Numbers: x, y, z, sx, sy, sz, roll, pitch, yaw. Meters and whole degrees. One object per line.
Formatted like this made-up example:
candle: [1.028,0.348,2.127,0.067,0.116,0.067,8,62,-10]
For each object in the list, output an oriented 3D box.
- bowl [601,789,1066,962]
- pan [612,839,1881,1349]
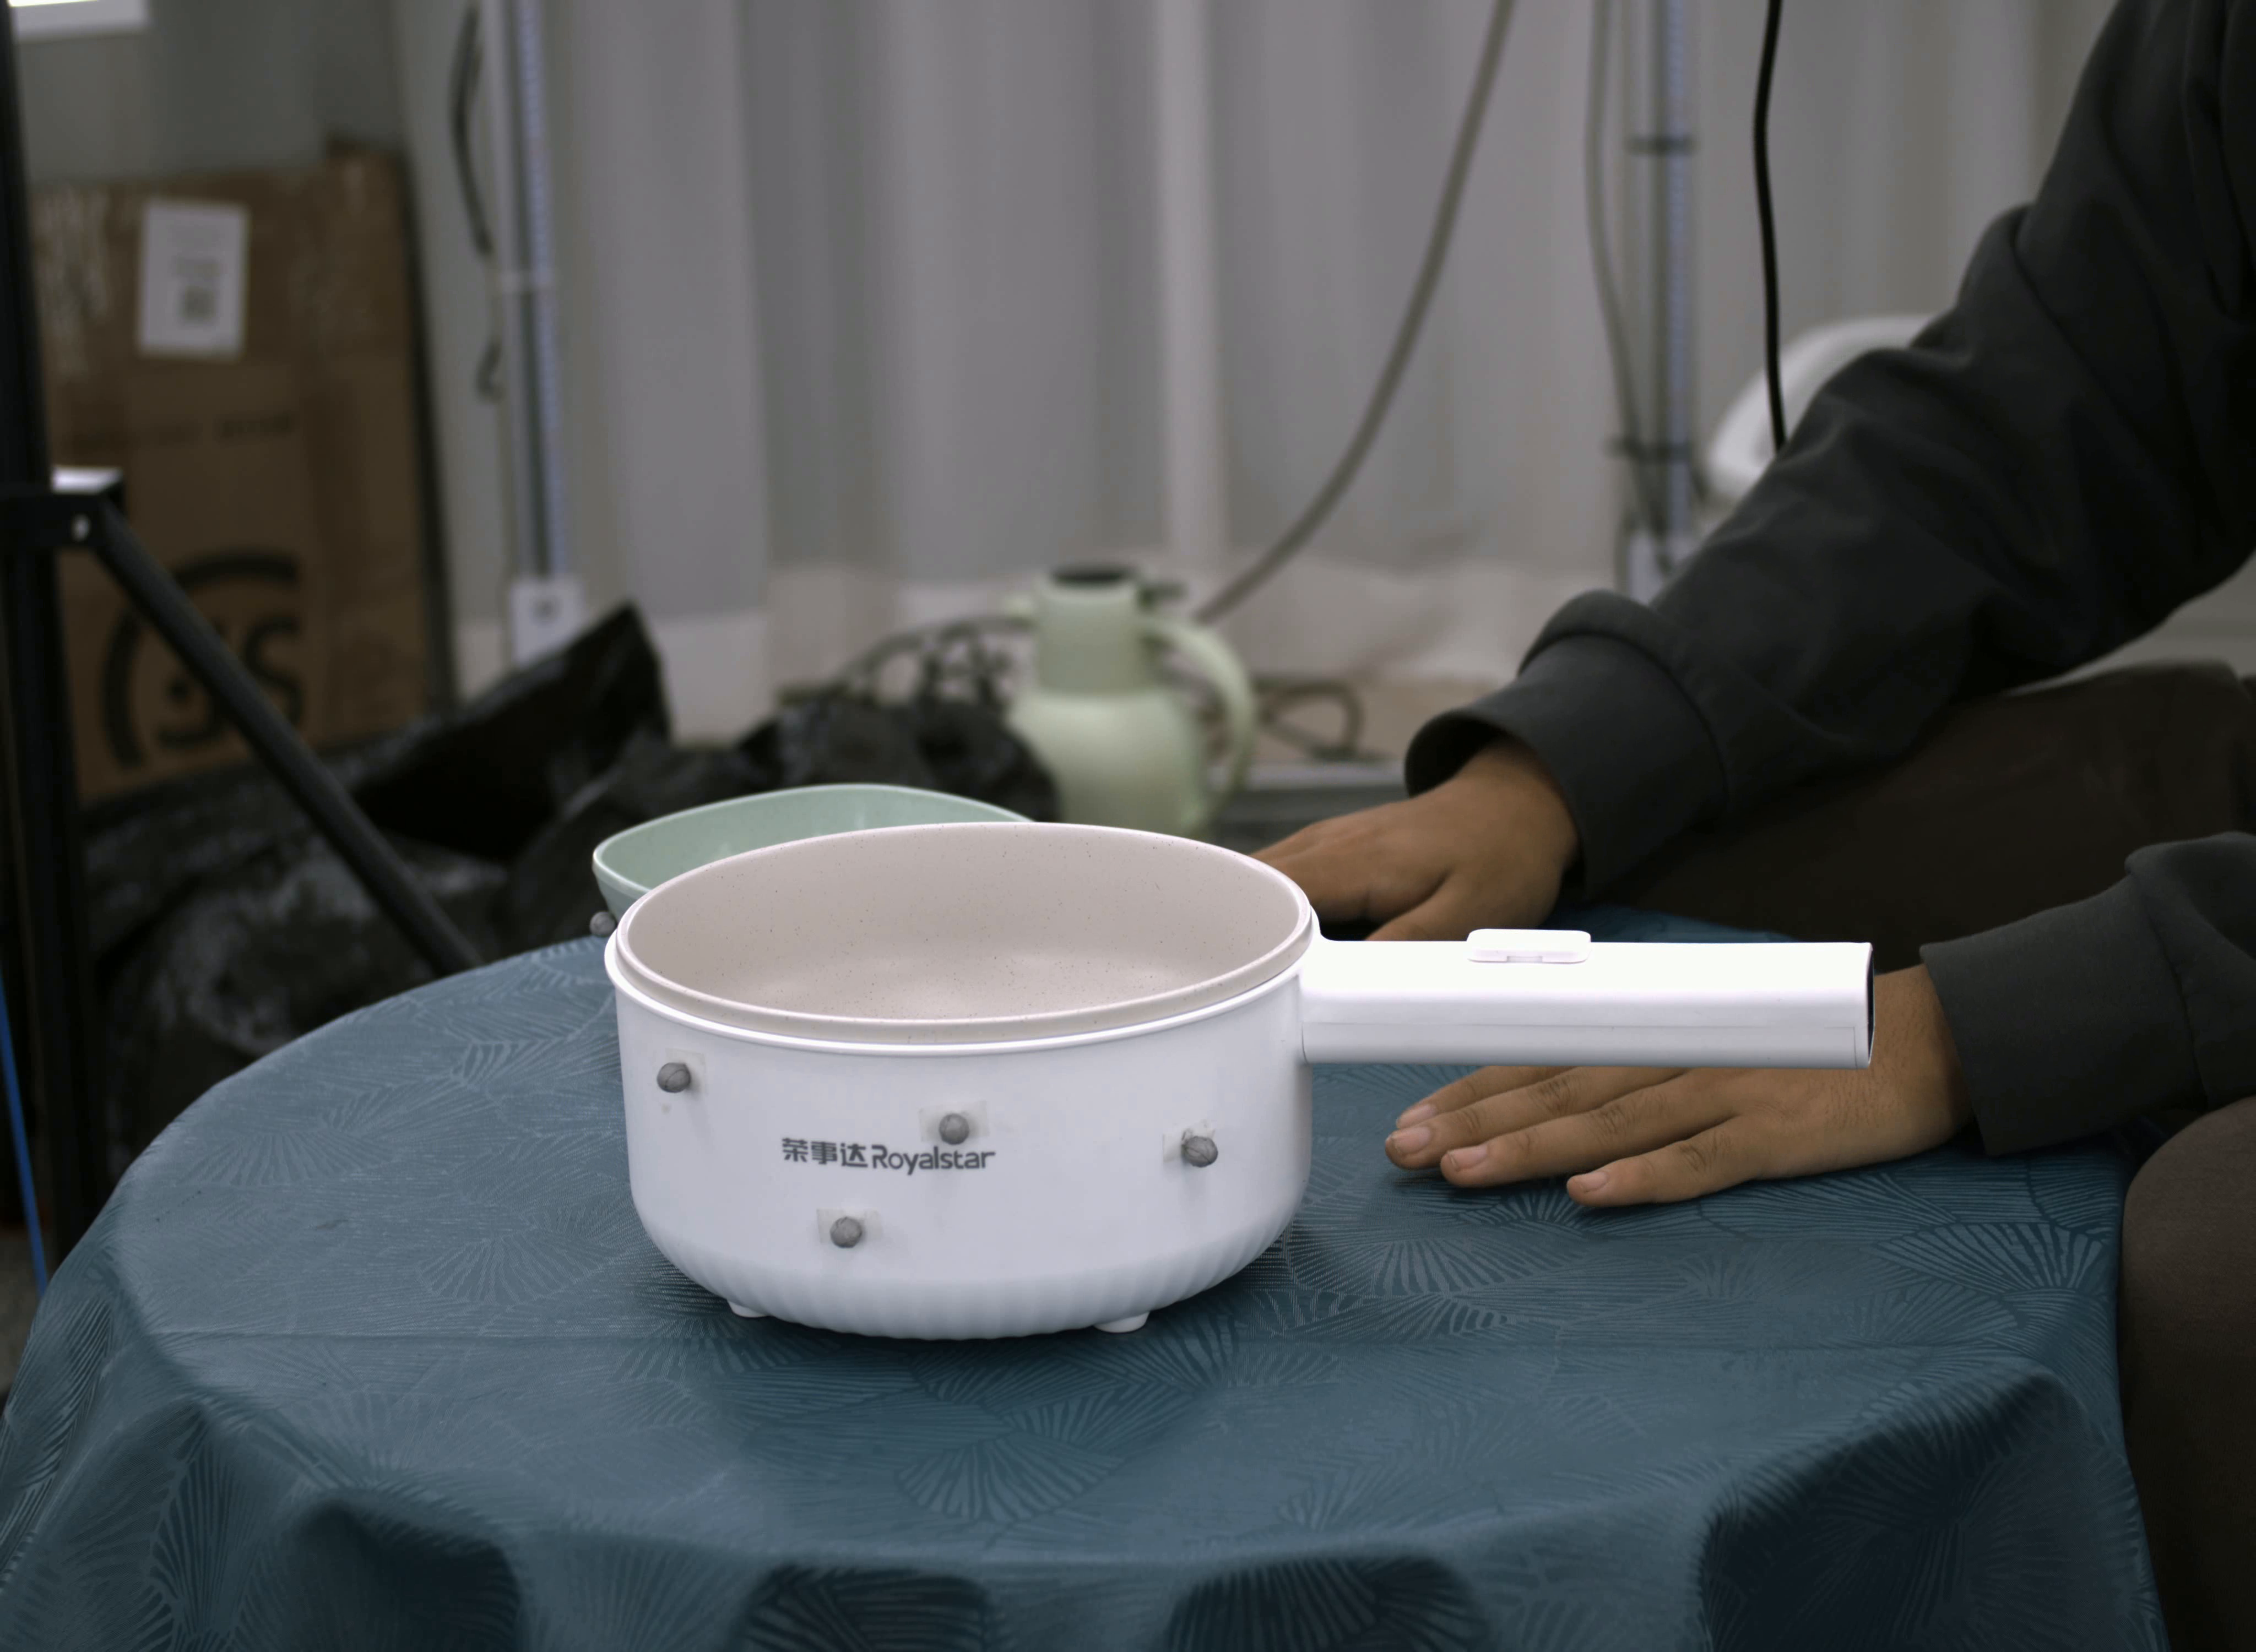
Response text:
bowl: [-0.094,0.036,1.723,0.151,0.058,0.152,-4,16,0]
pan: [0.031,0.080,1.485,0.356,0.102,0.200,2,14,12]
